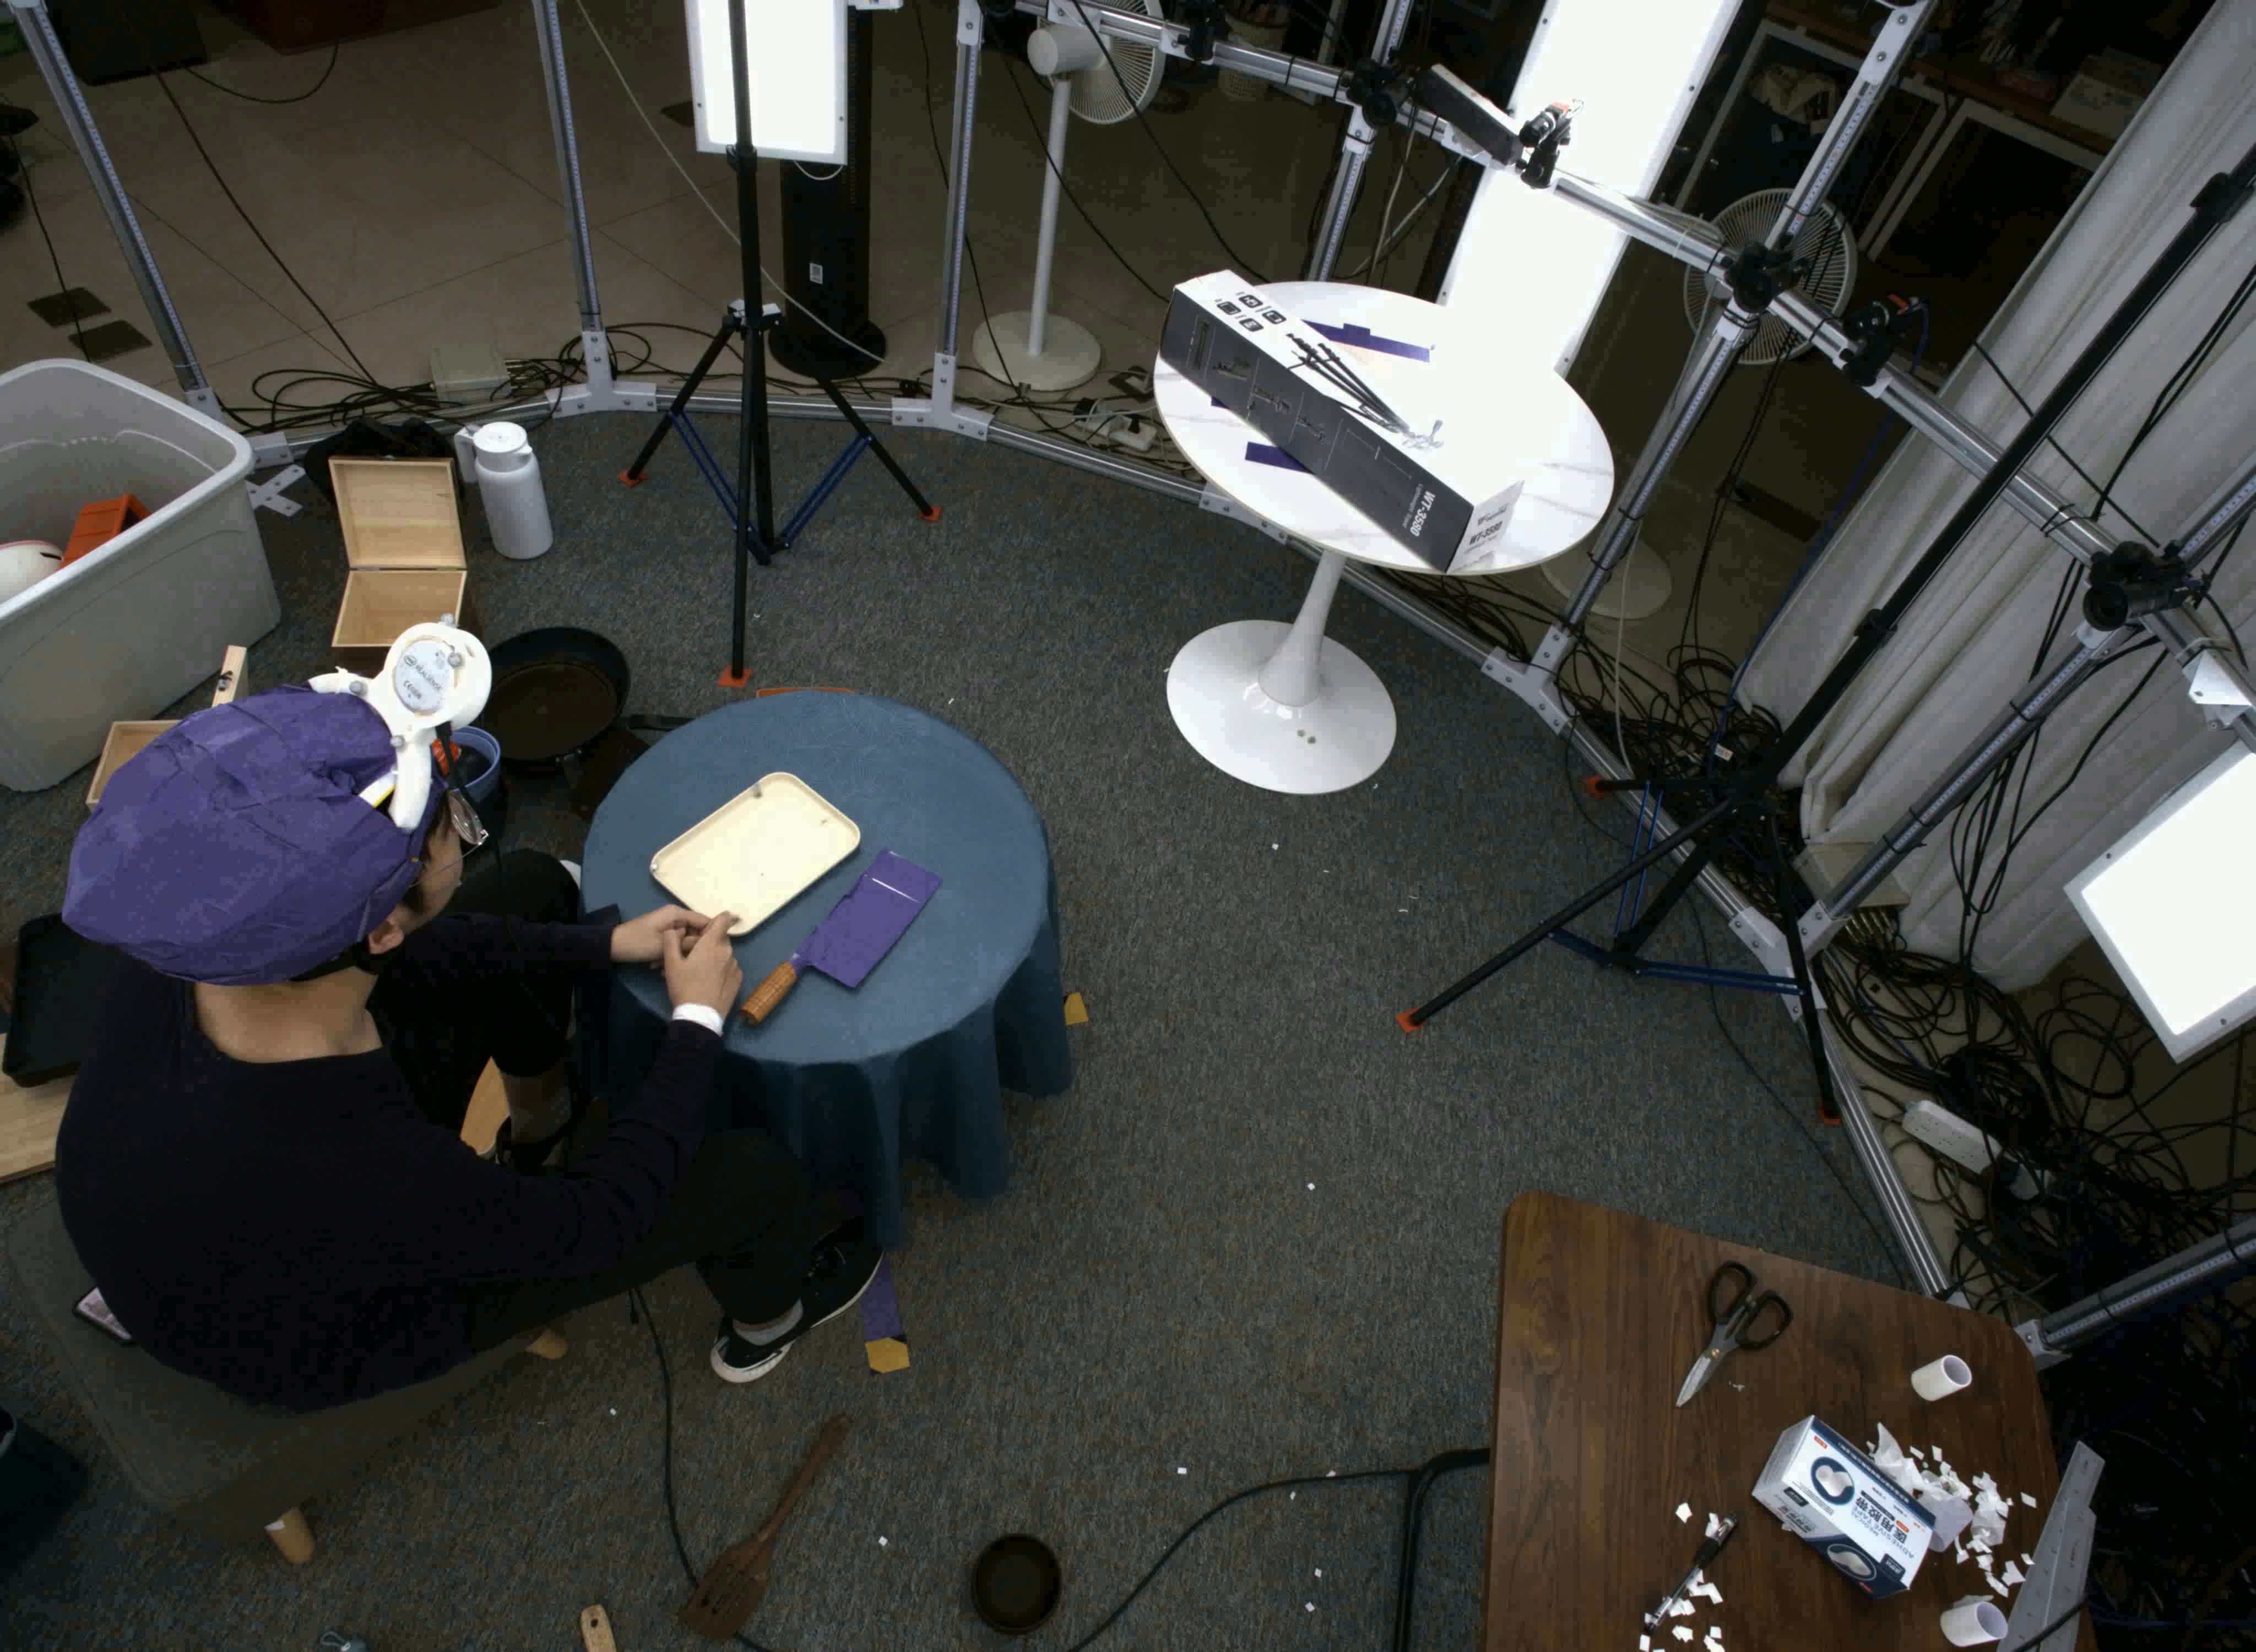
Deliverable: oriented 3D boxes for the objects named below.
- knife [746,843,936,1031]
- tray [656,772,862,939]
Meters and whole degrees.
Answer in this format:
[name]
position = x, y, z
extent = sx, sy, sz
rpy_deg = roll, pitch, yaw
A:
[knife]
position = -0.351, 0.142, 1.632
extent = 0.102, 0.033, 0.313
rpy_deg = 27, 52, 7
[tray]
position = -0.478, 0.035, 1.684
extent = 0.168, 0.018, 0.240
rpy_deg = 38, 54, 13
